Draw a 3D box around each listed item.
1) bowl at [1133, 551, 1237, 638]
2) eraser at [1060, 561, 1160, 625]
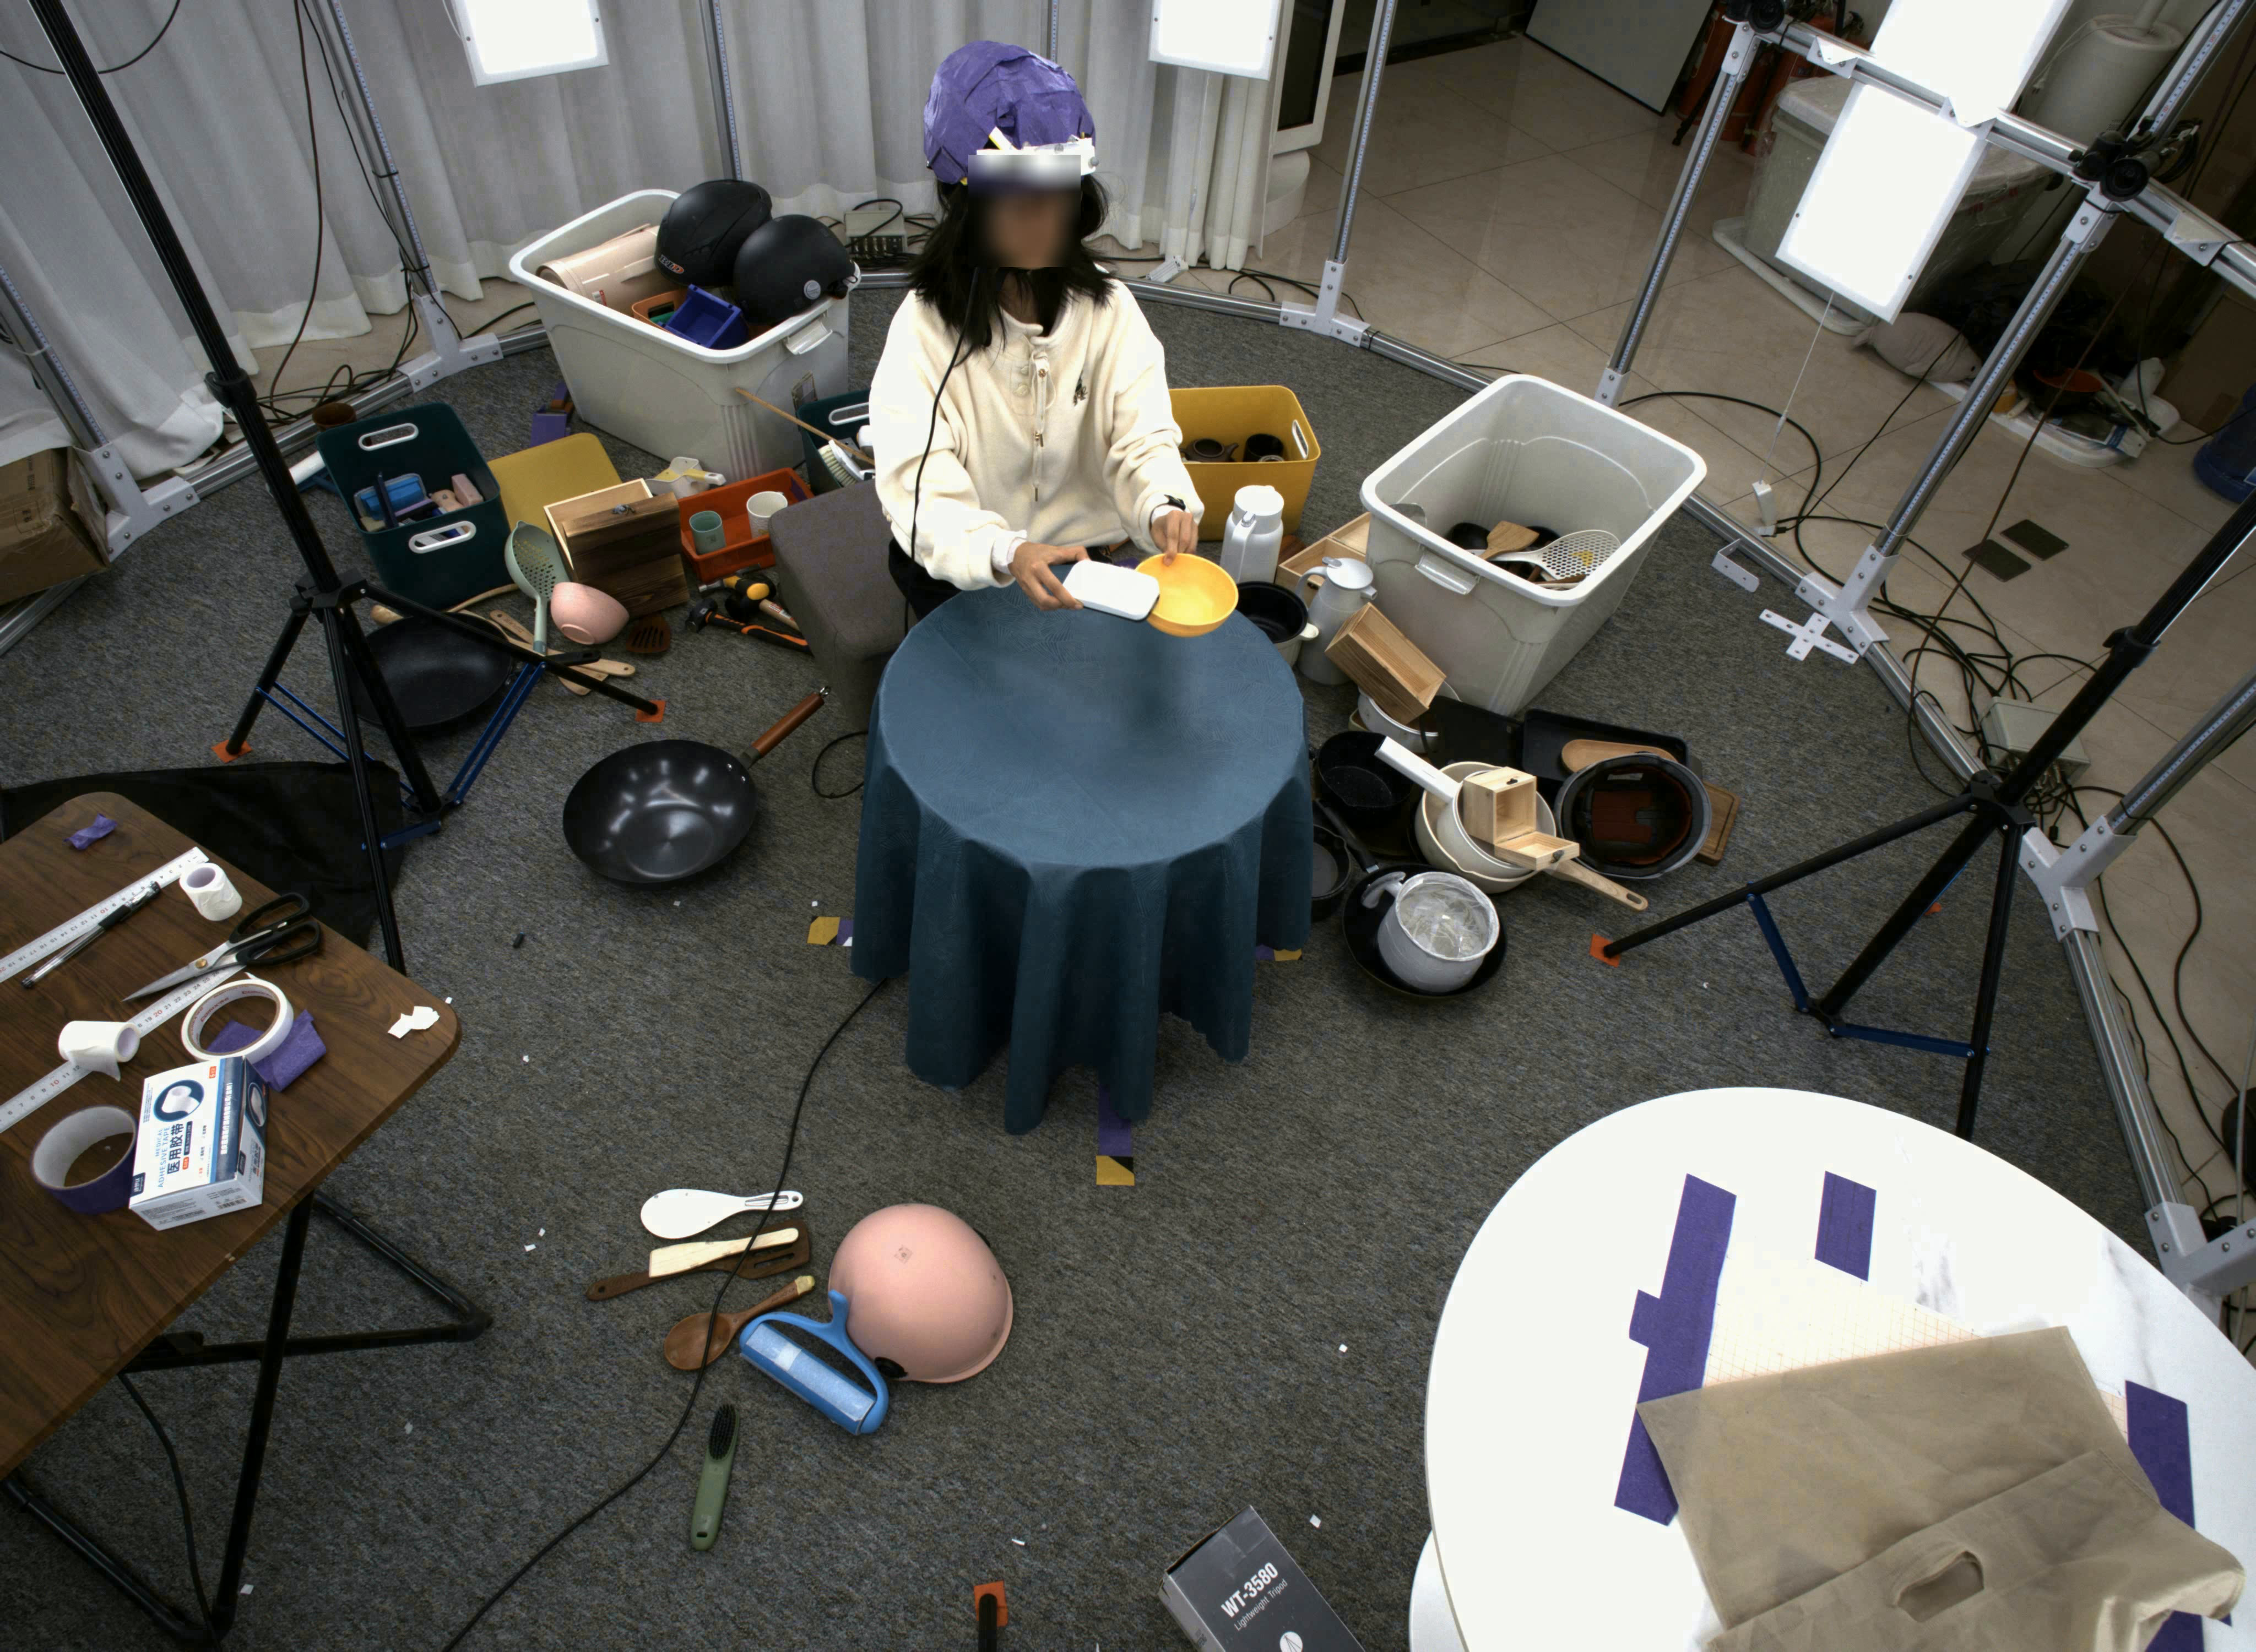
[{"bbox_3d":[0.070,-0.300,1.731,0.145,0.059,0.149,5,51,-7],"label":"bowl"},{"bbox_3d":[-0.023,-0.307,1.679,0.132,0.034,0.064,20,68,26],"label":"eraser"}]
